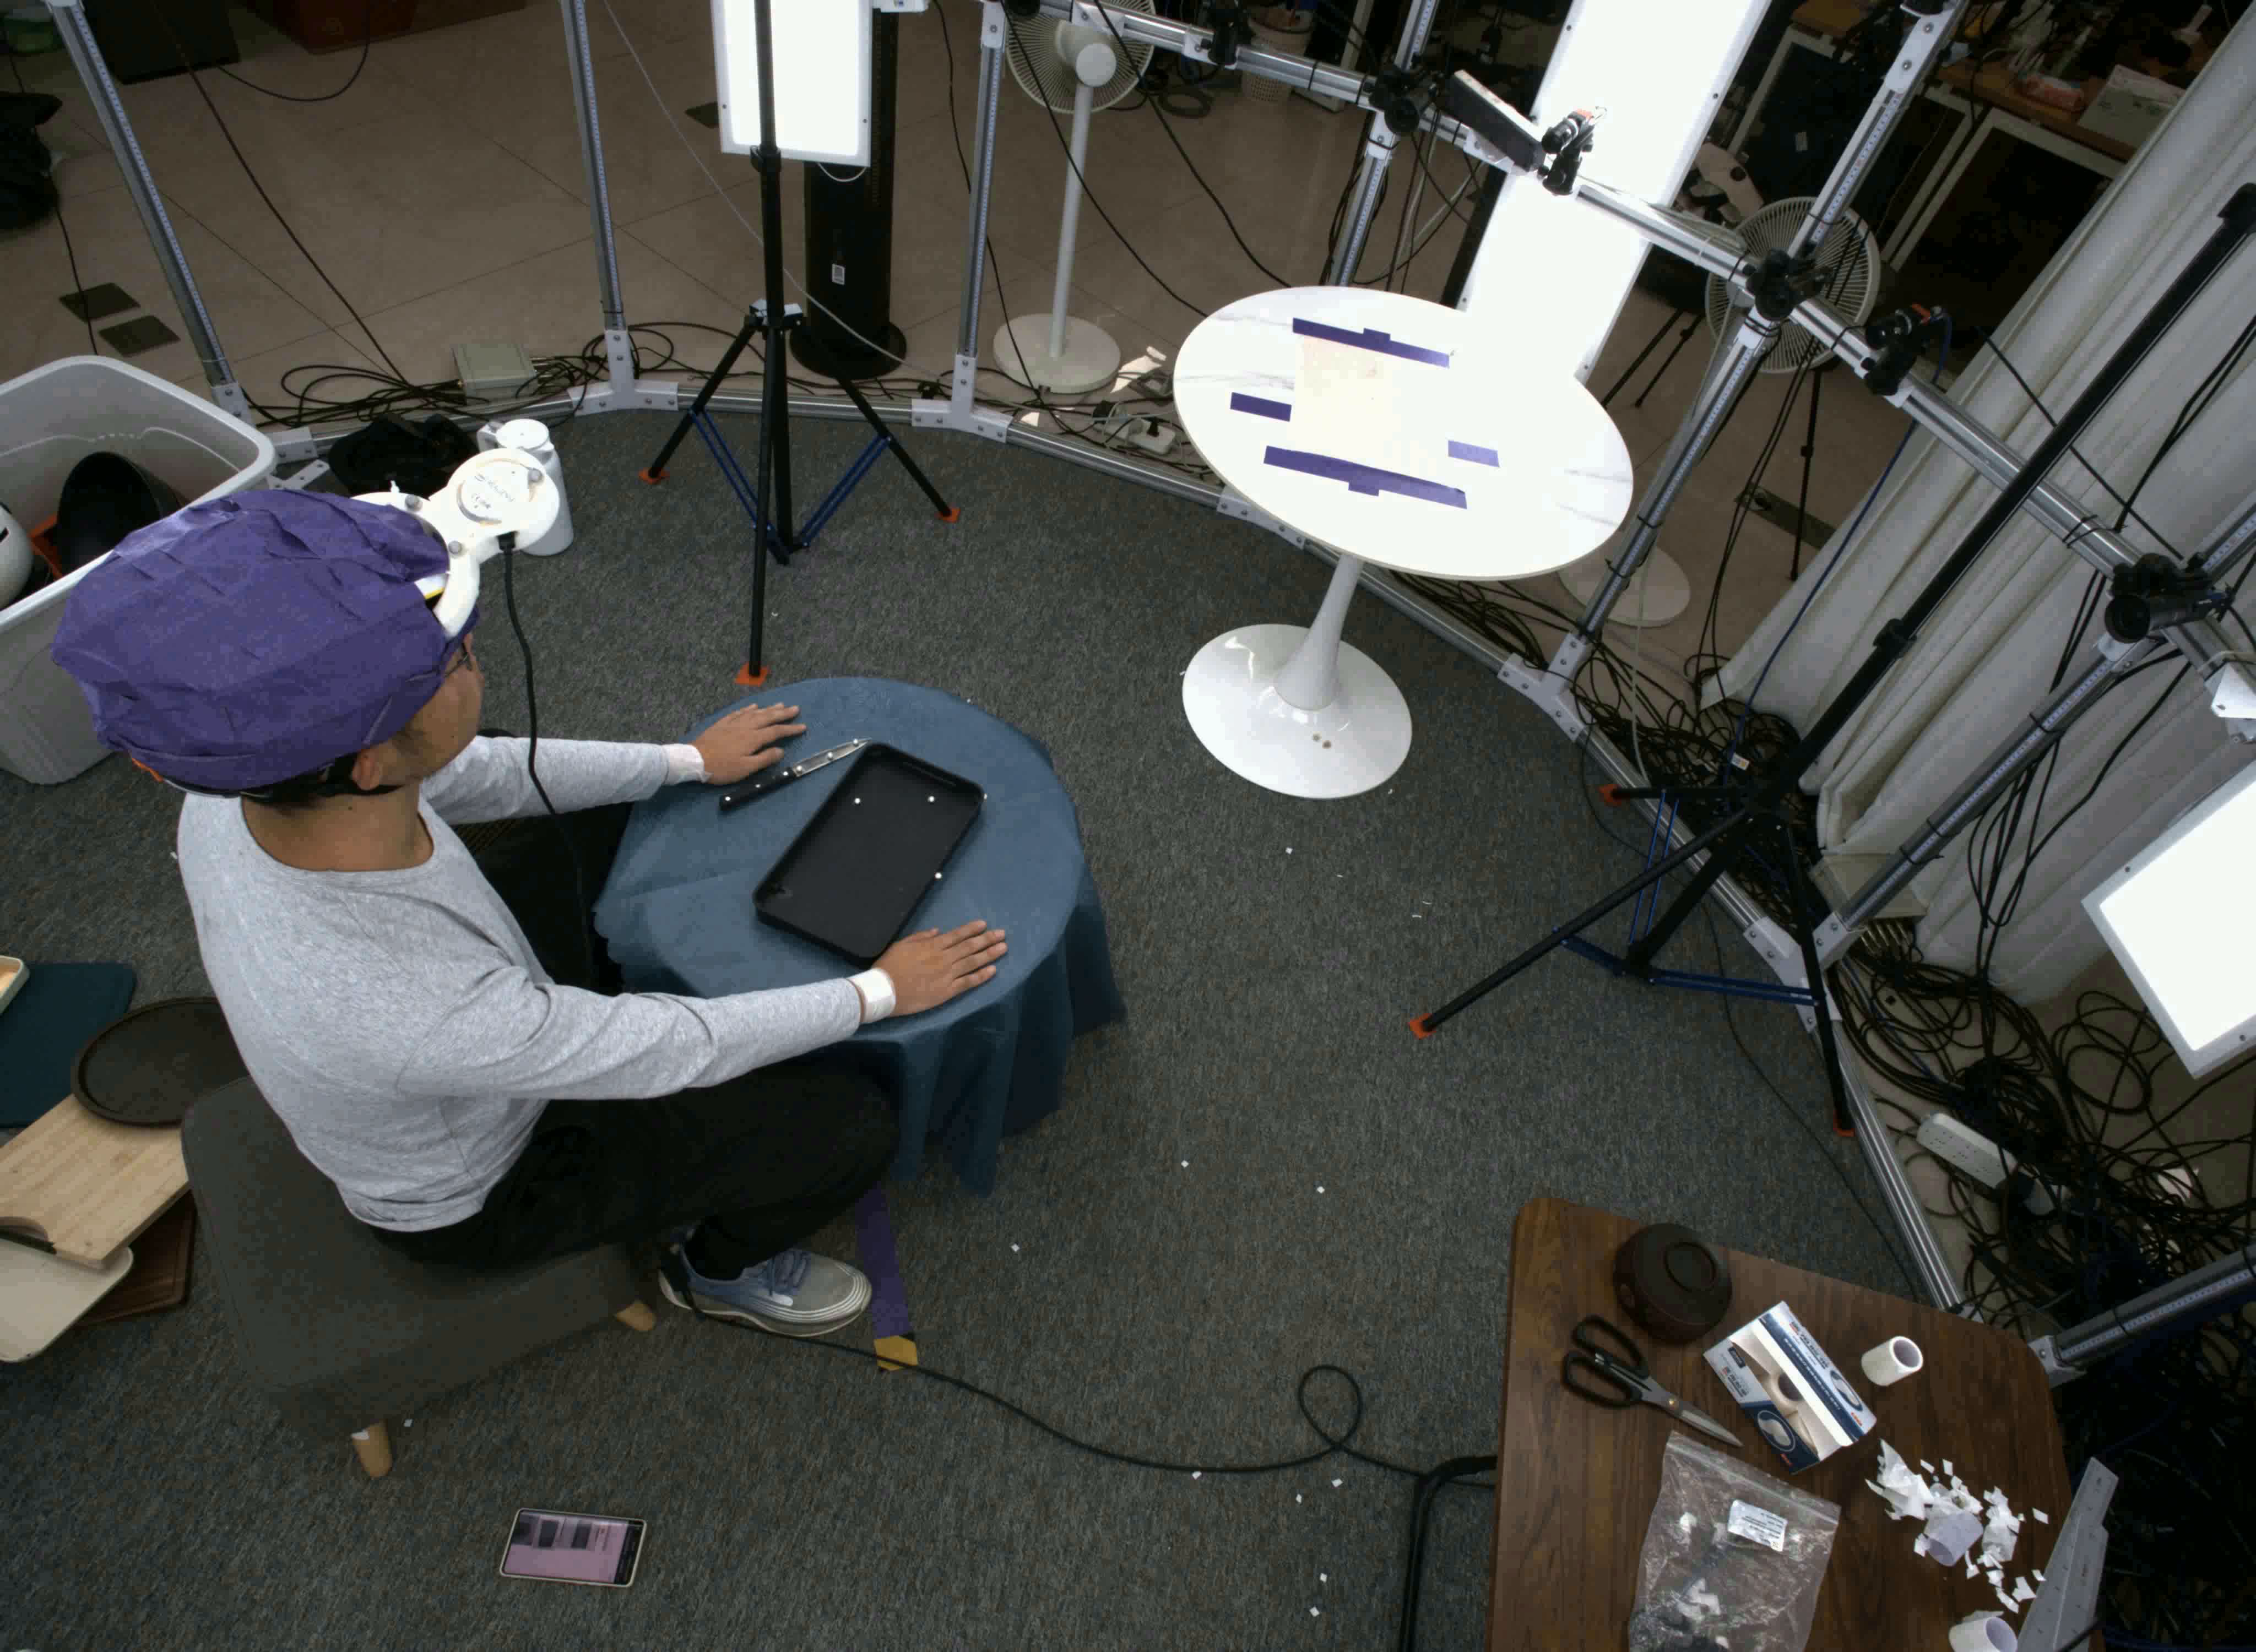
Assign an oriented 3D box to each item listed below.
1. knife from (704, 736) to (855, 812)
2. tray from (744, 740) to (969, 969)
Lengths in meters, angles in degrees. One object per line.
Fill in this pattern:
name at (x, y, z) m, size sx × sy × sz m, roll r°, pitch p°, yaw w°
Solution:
knife at (-0.471, -0.074, 1.771) m, size 0.239 × 0.016 × 0.024 m, roll -30°, pitch 69°, yaw -34°
tray at (-0.350, 0.030, 1.709) m, size 0.182 × 0.038 × 0.315 m, roll 22°, pitch 52°, yaw 3°
